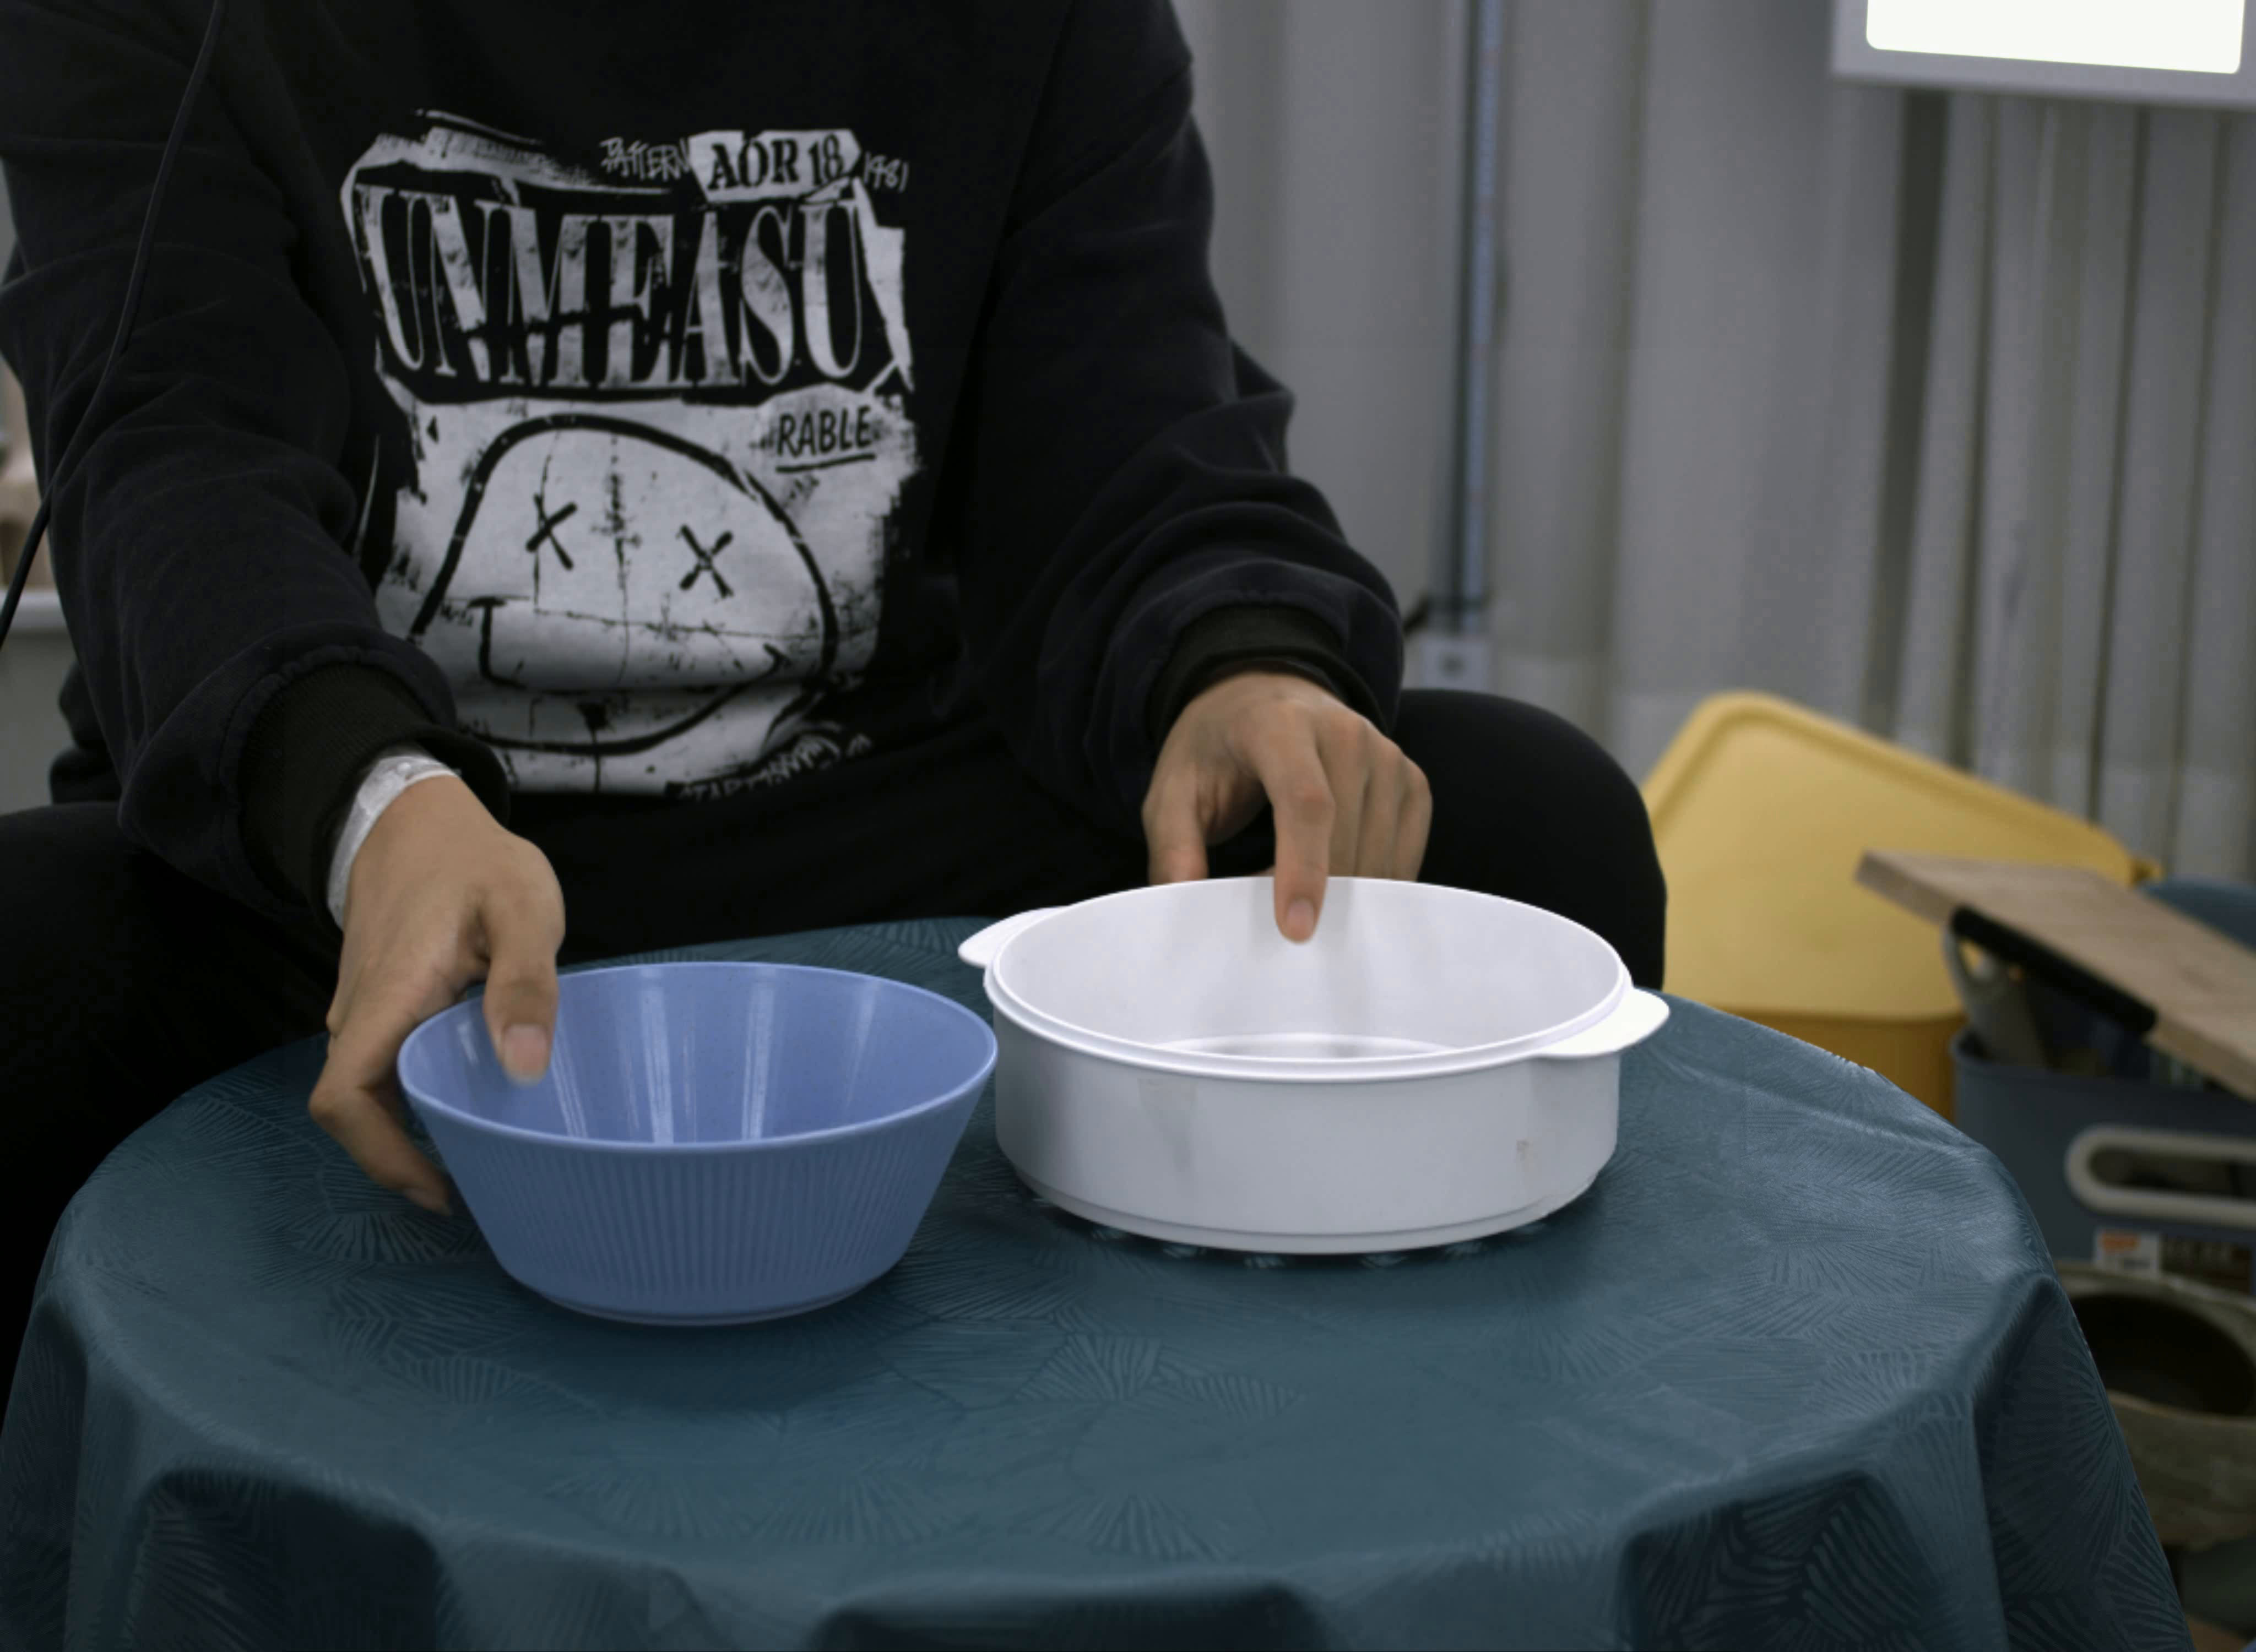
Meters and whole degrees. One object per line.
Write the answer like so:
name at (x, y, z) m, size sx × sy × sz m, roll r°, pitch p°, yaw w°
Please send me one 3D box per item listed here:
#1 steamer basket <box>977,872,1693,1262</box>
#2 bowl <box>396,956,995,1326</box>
steamer basket at (0.061, 0.074, 1.637) m, size 0.228 × 0.070 × 0.202 m, roll 11°, pitch 19°, yaw 25°
bowl at (-0.126, 0.095, 1.551) m, size 0.175 × 0.071 × 0.175 m, roll 1°, pitch 17°, yaw 0°
